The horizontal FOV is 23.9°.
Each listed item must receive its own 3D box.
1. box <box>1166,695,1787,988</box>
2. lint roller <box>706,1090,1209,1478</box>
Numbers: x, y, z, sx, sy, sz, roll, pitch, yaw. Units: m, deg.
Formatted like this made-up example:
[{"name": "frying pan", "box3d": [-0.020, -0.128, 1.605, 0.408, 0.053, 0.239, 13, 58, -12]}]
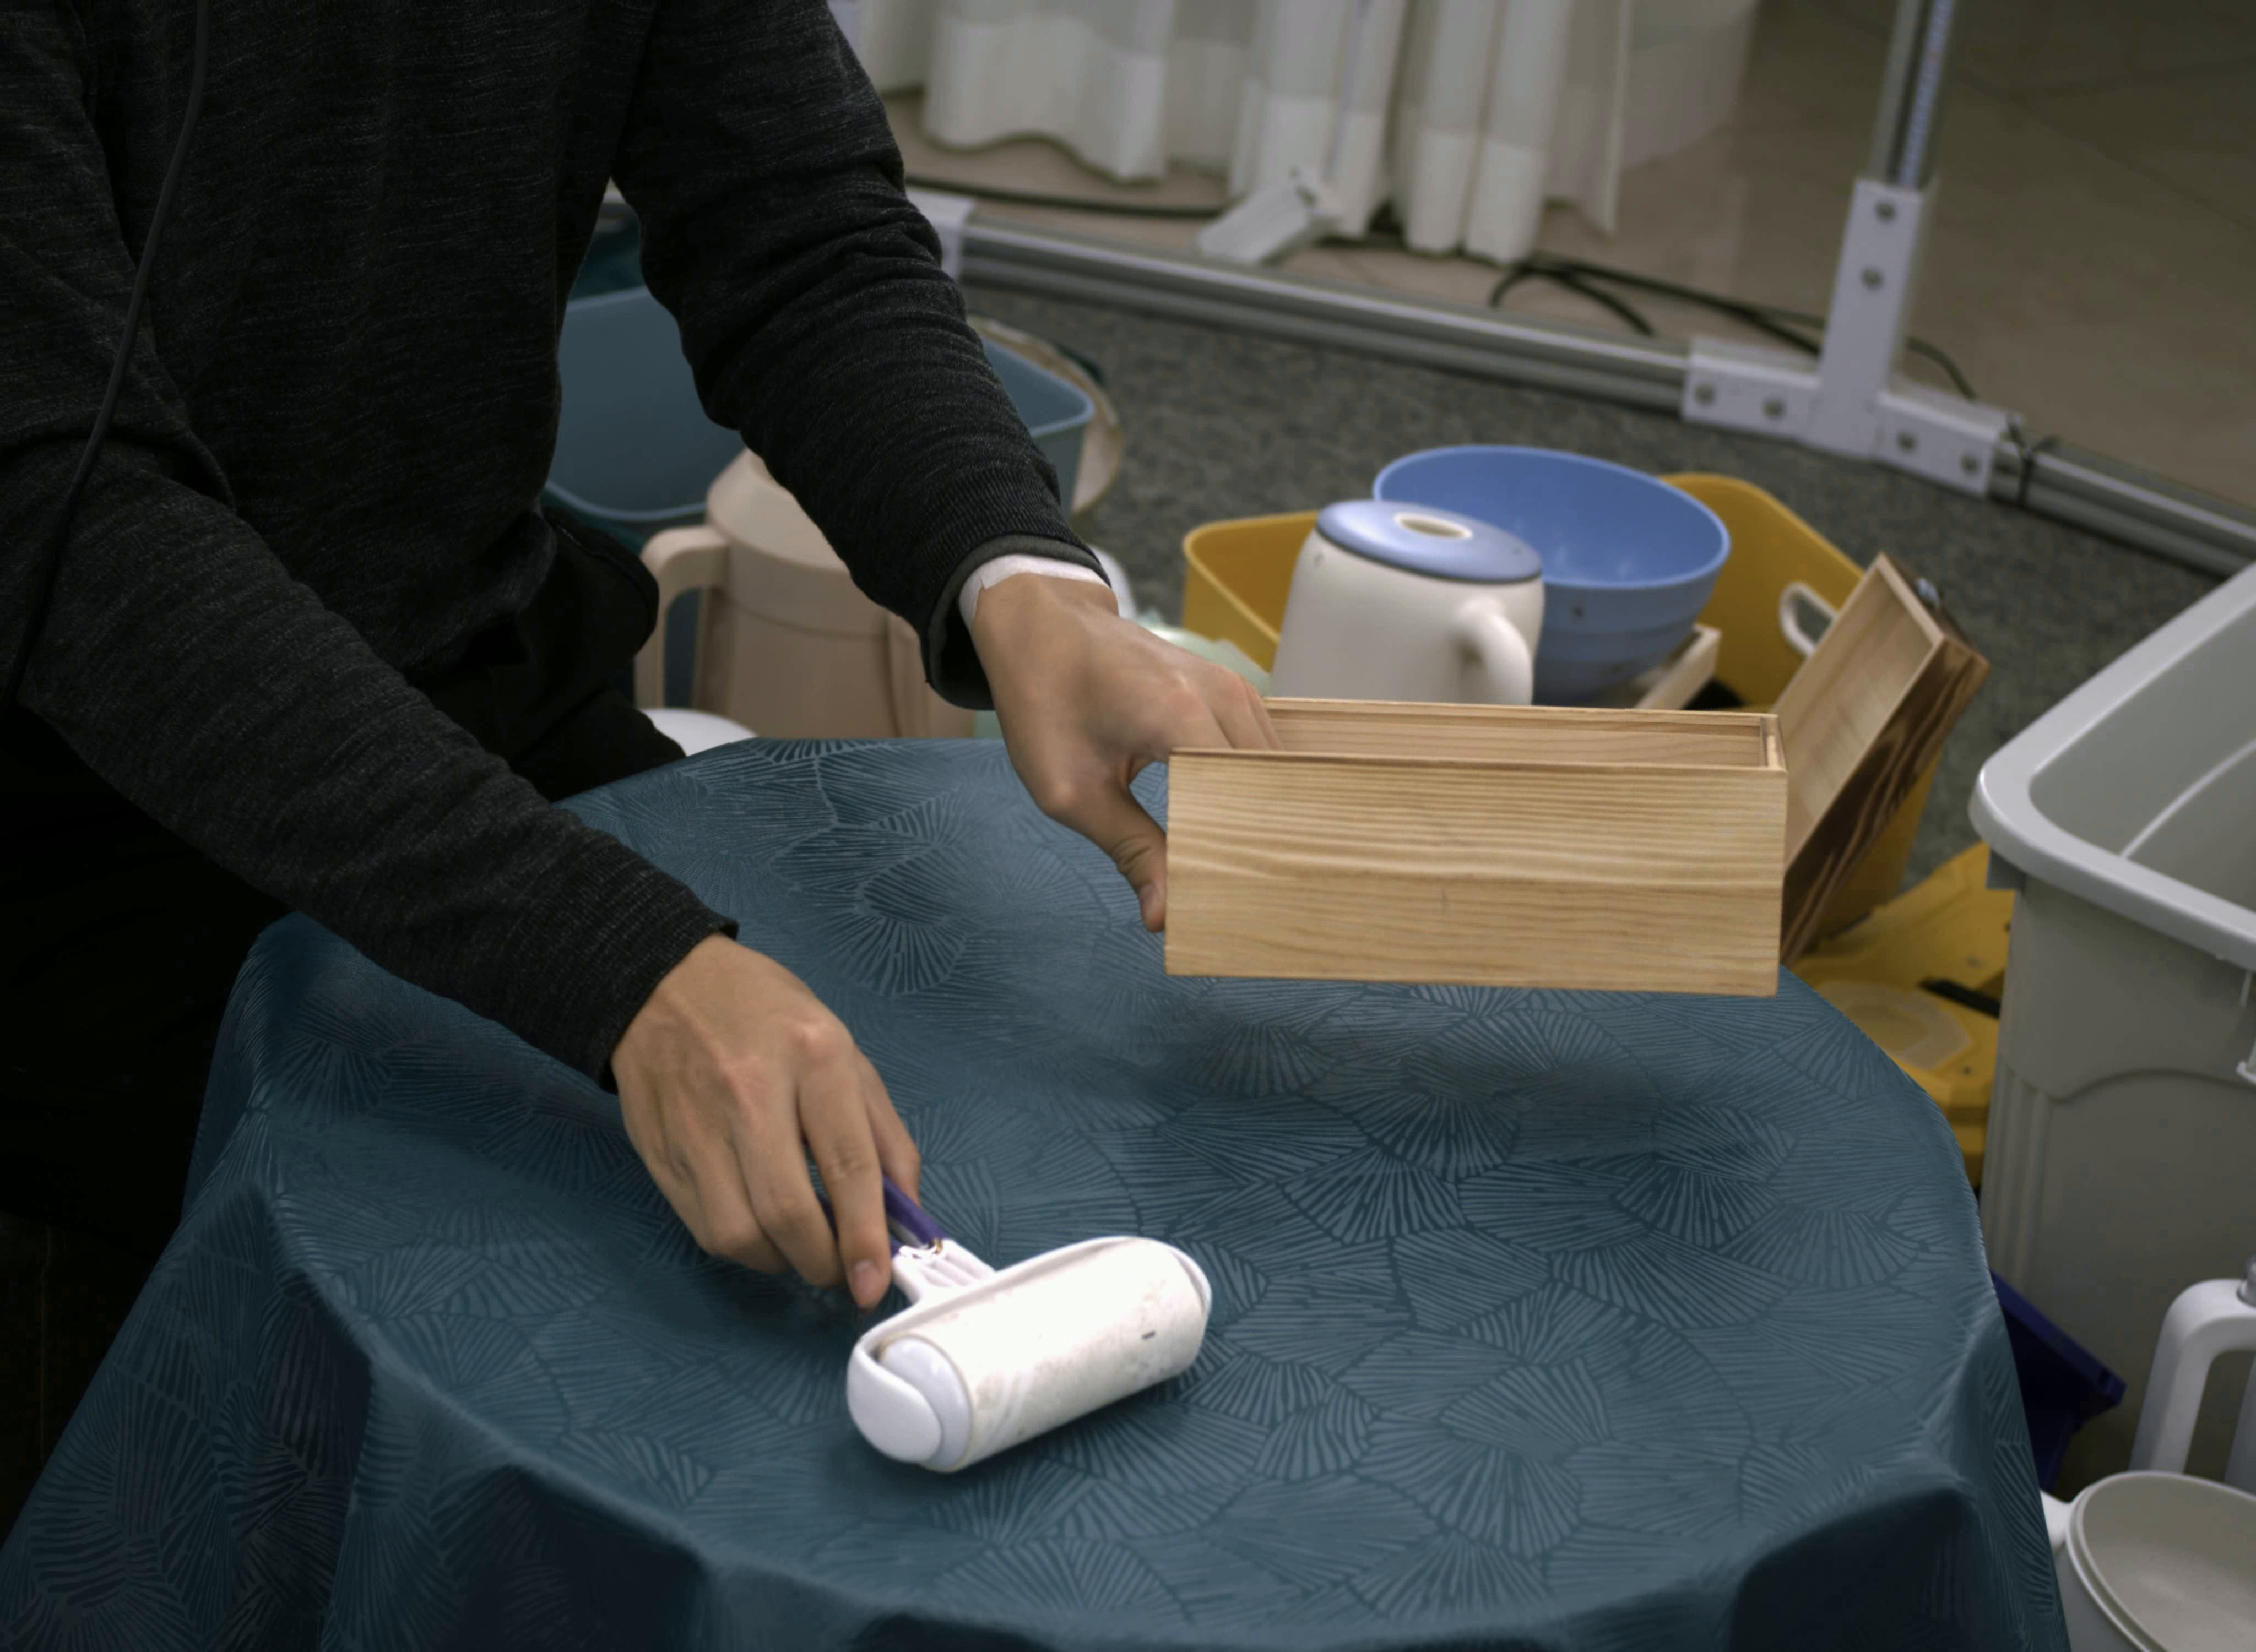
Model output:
[{"name": "box", "box3d": [0.122, 0.004, 1.860, 0.211, 0.080, 0.107, 1, 12, 6]}, {"name": "lint roller", "box3d": [-0.070, 0.127, 1.698, 0.132, 0.050, 0.182, -18, 49, -38]}]
